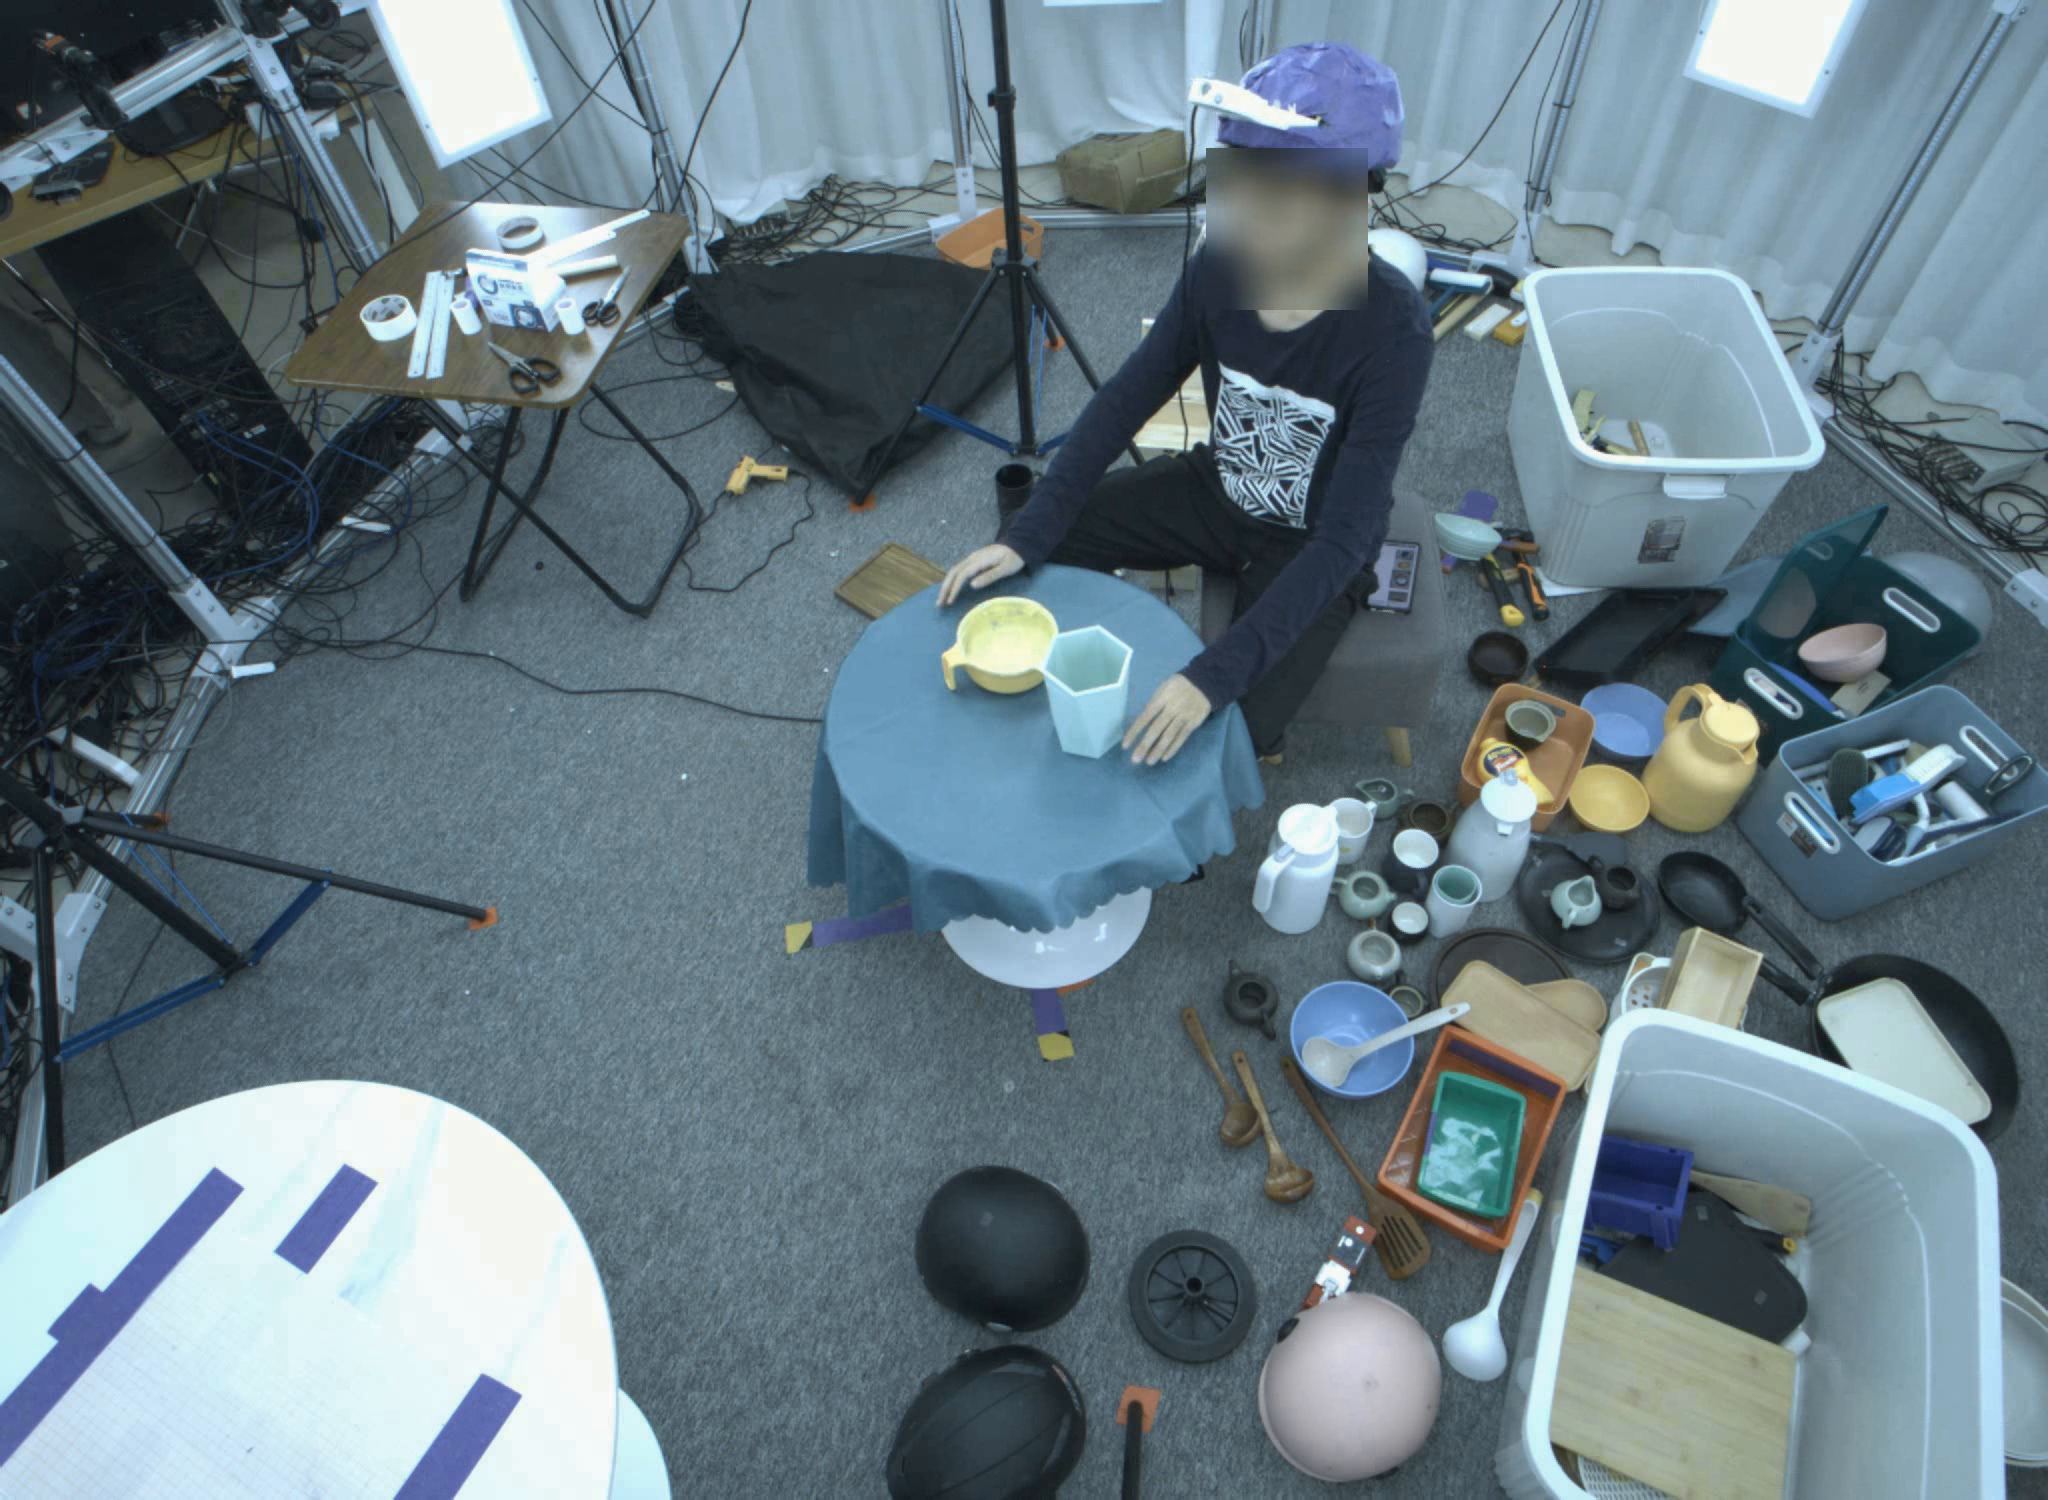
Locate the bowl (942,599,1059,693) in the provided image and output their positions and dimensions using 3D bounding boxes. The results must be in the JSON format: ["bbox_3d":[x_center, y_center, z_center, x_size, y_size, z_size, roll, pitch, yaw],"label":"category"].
[{"bbox_3d":[-0.035,-0.148,1.846,0.181,0.075,0.150,-24,57,-17],"label":"bowl"}]

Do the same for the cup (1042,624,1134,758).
[{"bbox_3d":[0.089,-0.075,1.730,0.129,0.164,0.116,37,62,24],"label":"cup"}]
